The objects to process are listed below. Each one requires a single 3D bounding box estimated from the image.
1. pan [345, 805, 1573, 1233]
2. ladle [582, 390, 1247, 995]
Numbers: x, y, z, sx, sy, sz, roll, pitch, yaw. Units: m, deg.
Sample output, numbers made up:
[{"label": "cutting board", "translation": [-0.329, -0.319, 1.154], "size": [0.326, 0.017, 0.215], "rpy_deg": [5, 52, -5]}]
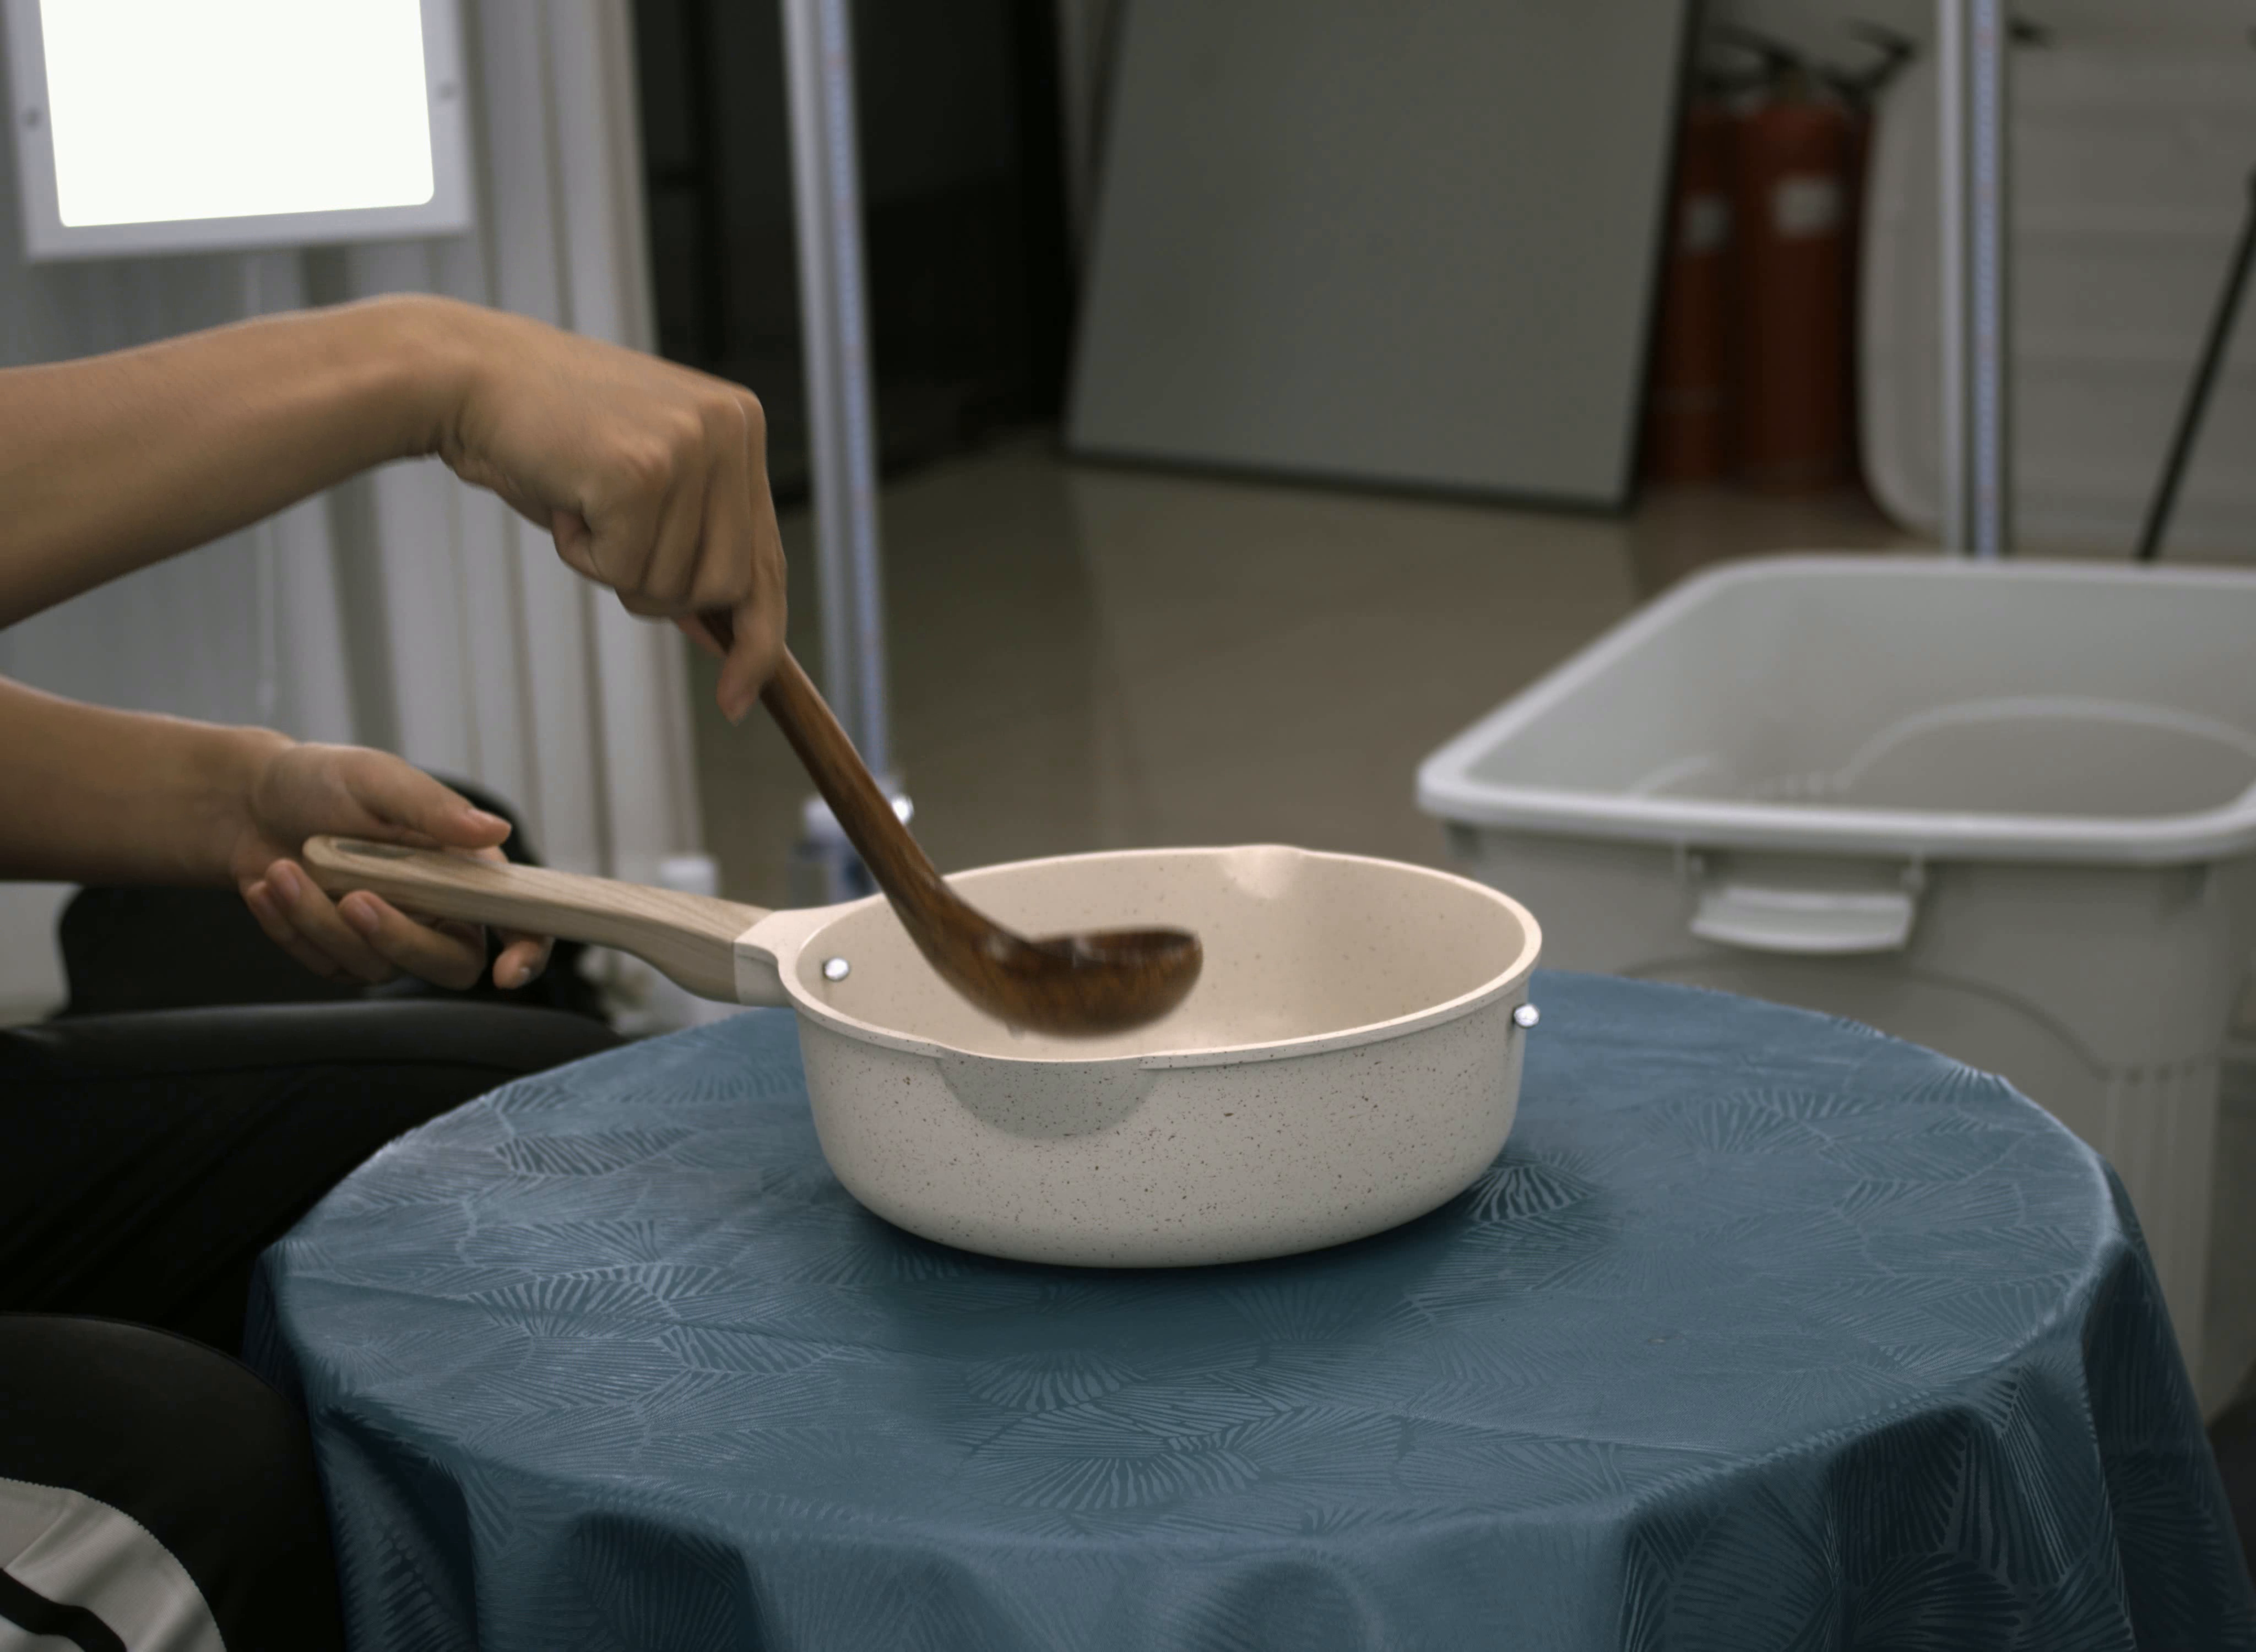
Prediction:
[{"label": "pan", "translation": [-0.061, 0.057, 1.820], "size": [0.434, 0.103, 0.261], "rpy_deg": [1, 16, 20]}, {"label": "ladle", "translation": [-0.061, -0.049, 1.693], "size": [0.076, 0.273, 0.083], "rpy_deg": [-48, 22, -28]}]
